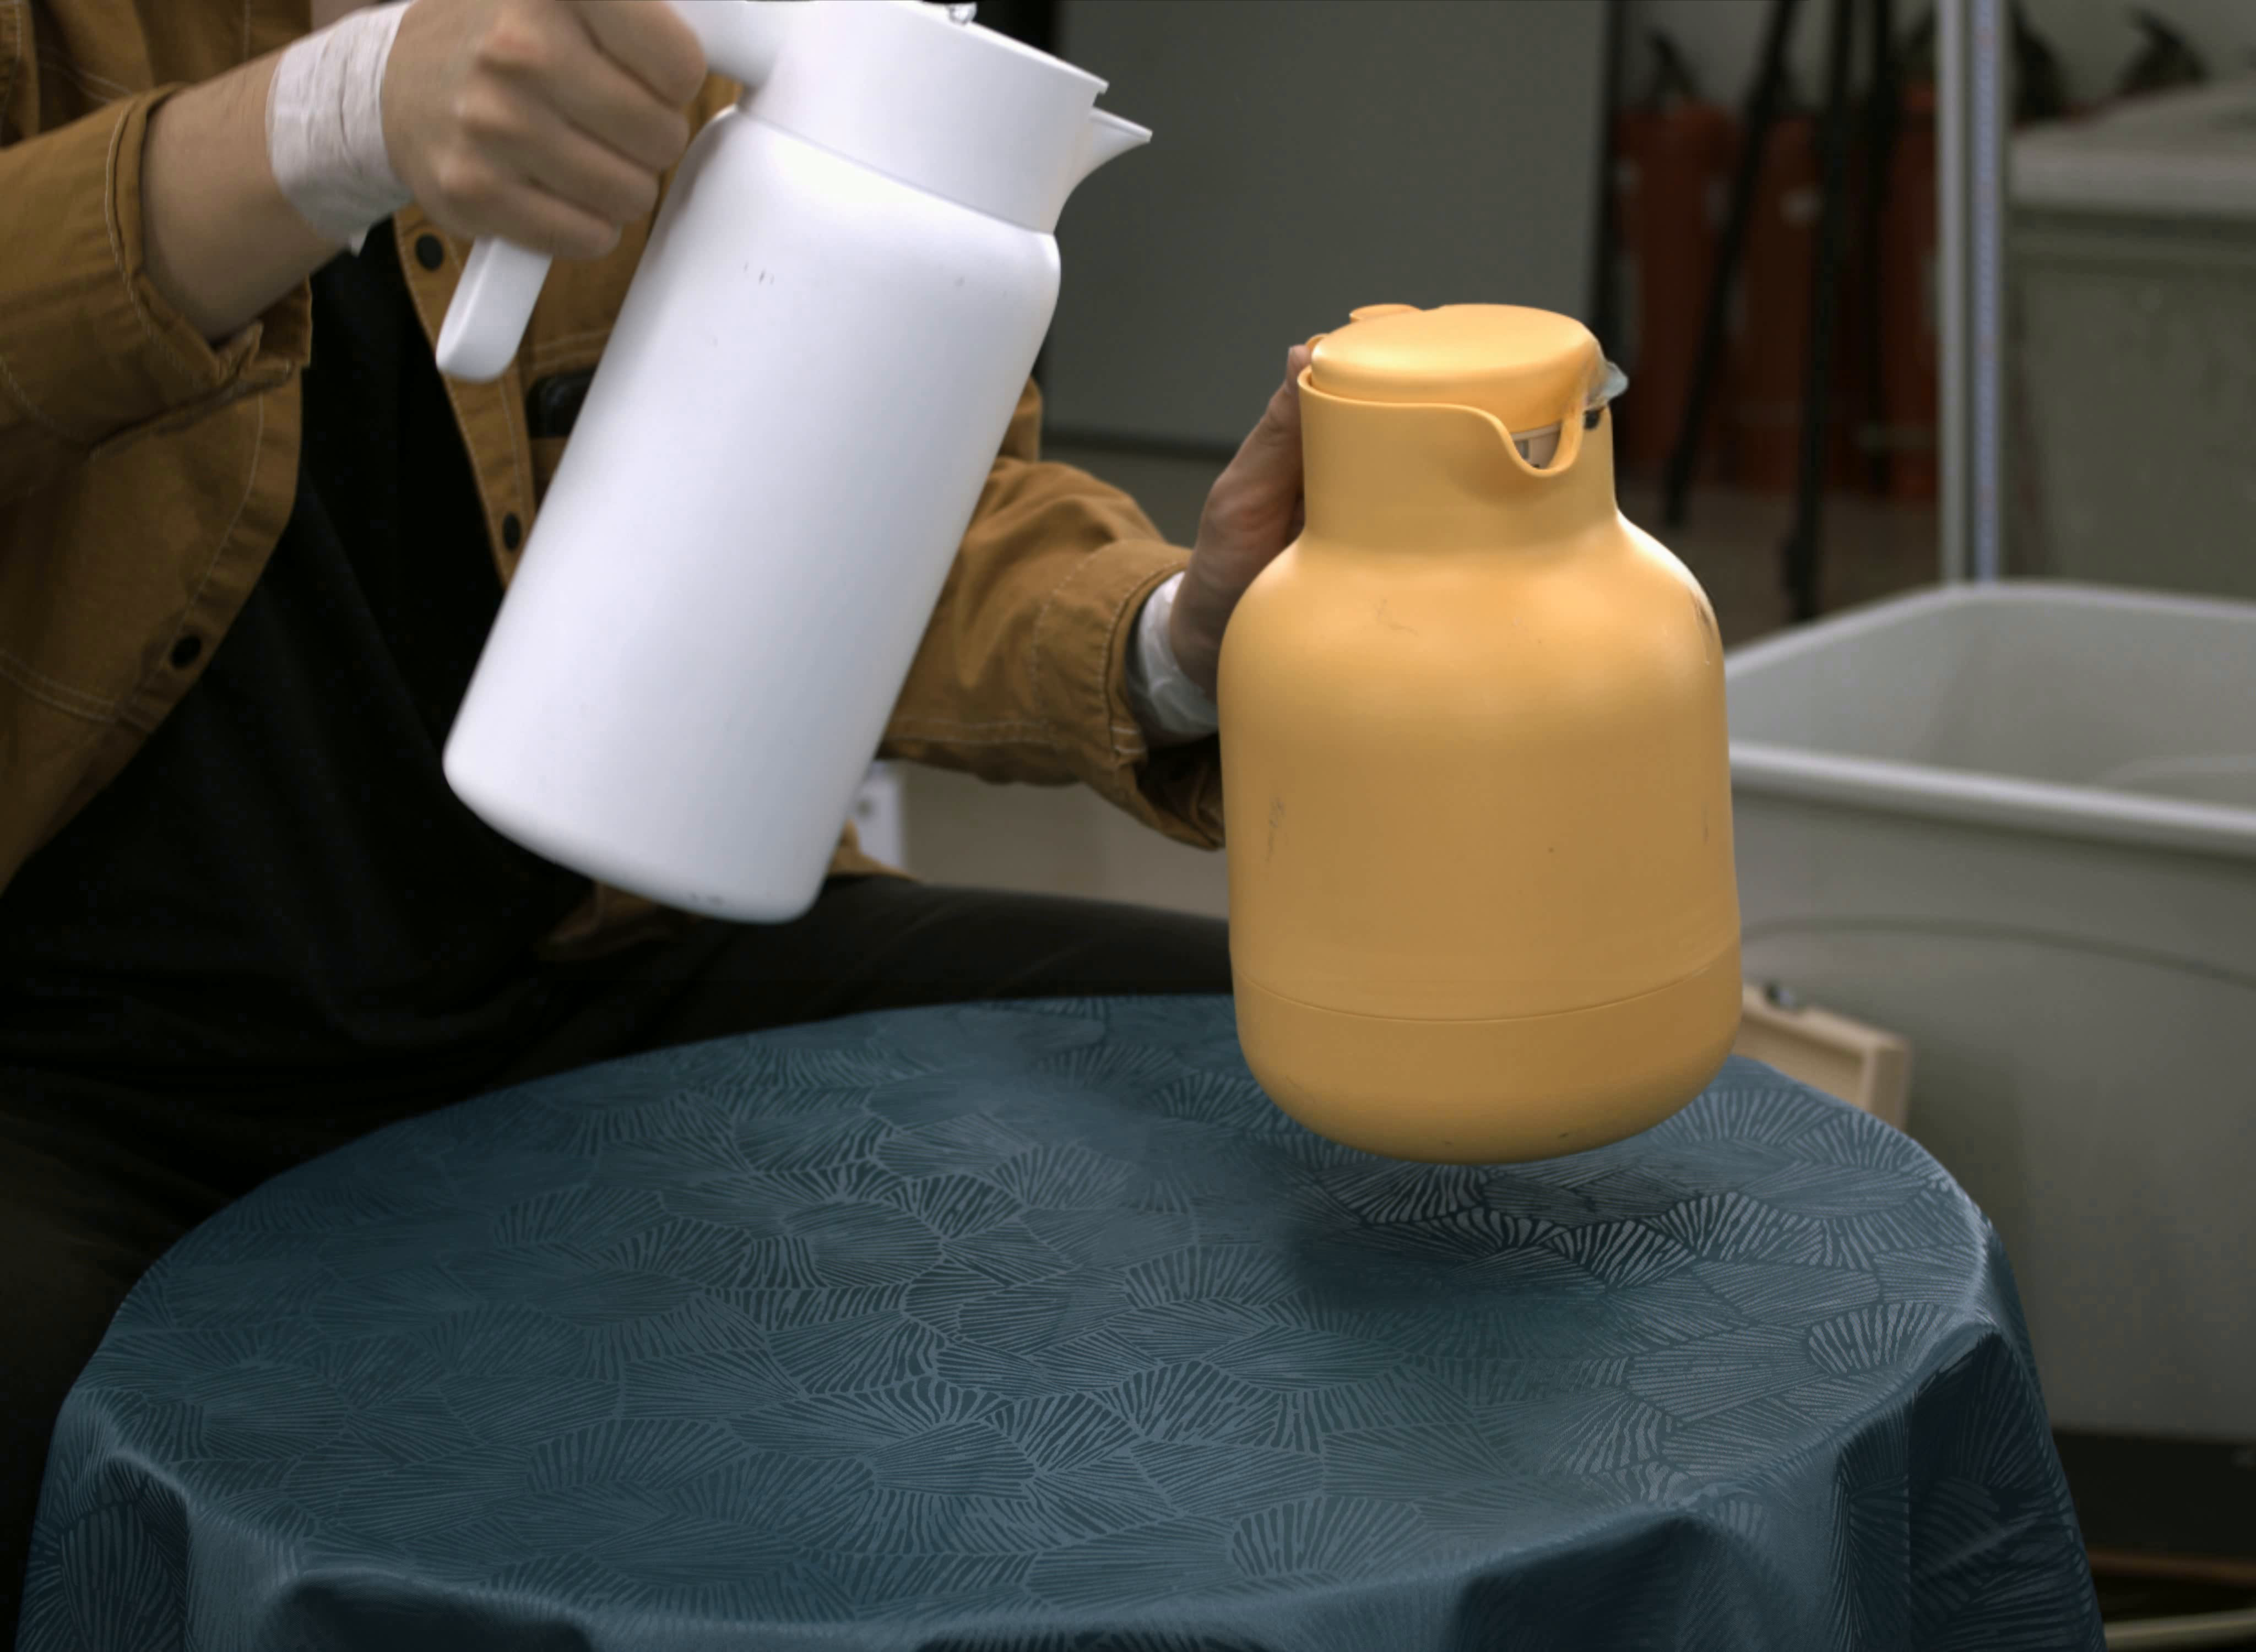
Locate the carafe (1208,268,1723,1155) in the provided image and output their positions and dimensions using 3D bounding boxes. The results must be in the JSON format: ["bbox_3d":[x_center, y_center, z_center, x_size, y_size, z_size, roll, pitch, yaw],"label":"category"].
[{"bbox_3d":[0.101,-0.044,1.706,0.160,0.263,0.204,-7,18,-14],"label":"carafe"}]

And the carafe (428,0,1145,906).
[{"bbox_3d":[-0.117,-0.125,1.556,0.169,0.271,0.125,20,10,-19],"label":"carafe"}]
